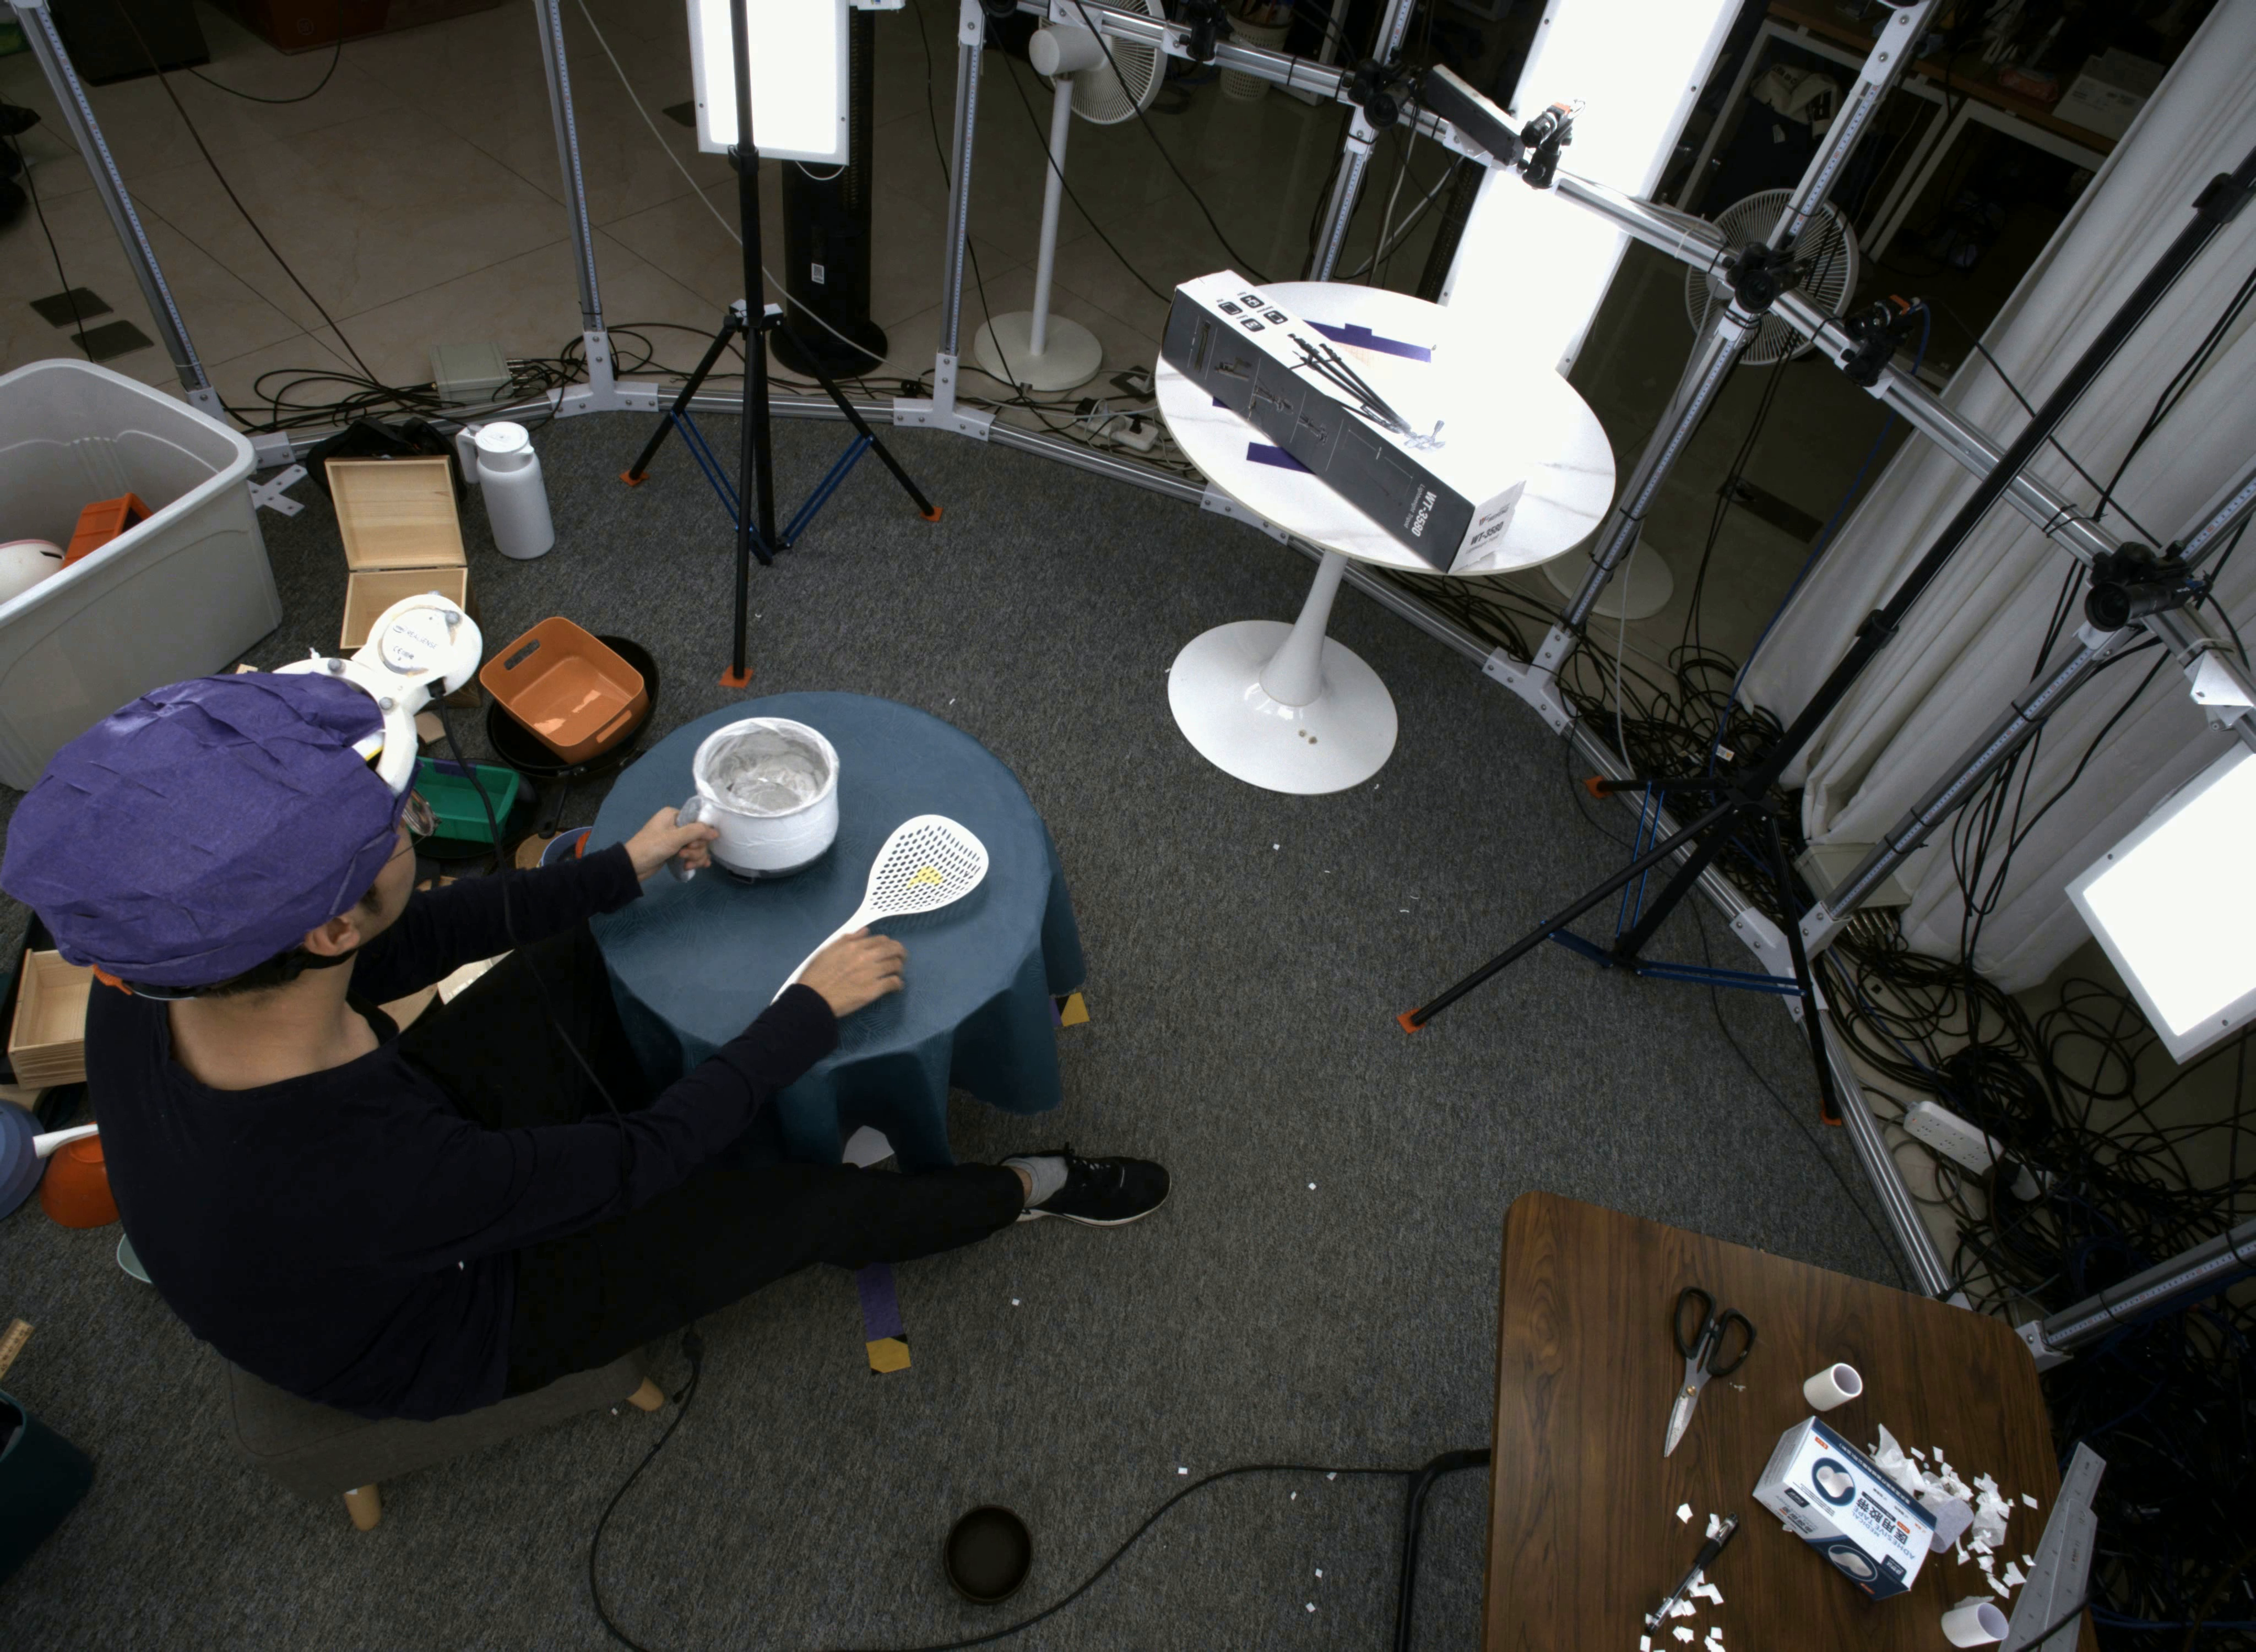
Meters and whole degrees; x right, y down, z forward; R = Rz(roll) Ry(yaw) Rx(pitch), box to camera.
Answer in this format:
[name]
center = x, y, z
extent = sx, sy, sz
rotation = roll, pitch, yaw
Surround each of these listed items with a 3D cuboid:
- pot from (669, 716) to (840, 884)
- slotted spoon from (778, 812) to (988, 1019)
[pot]
center = -0.476, -0.021, 1.637
extent = 0.174, 0.140, 0.234
rotation = 37, 49, 22
[slotted spoon]
center = -0.321, 0.112, 1.650
extent = 0.134, 0.051, 0.348
rotation = 37, 53, 13
